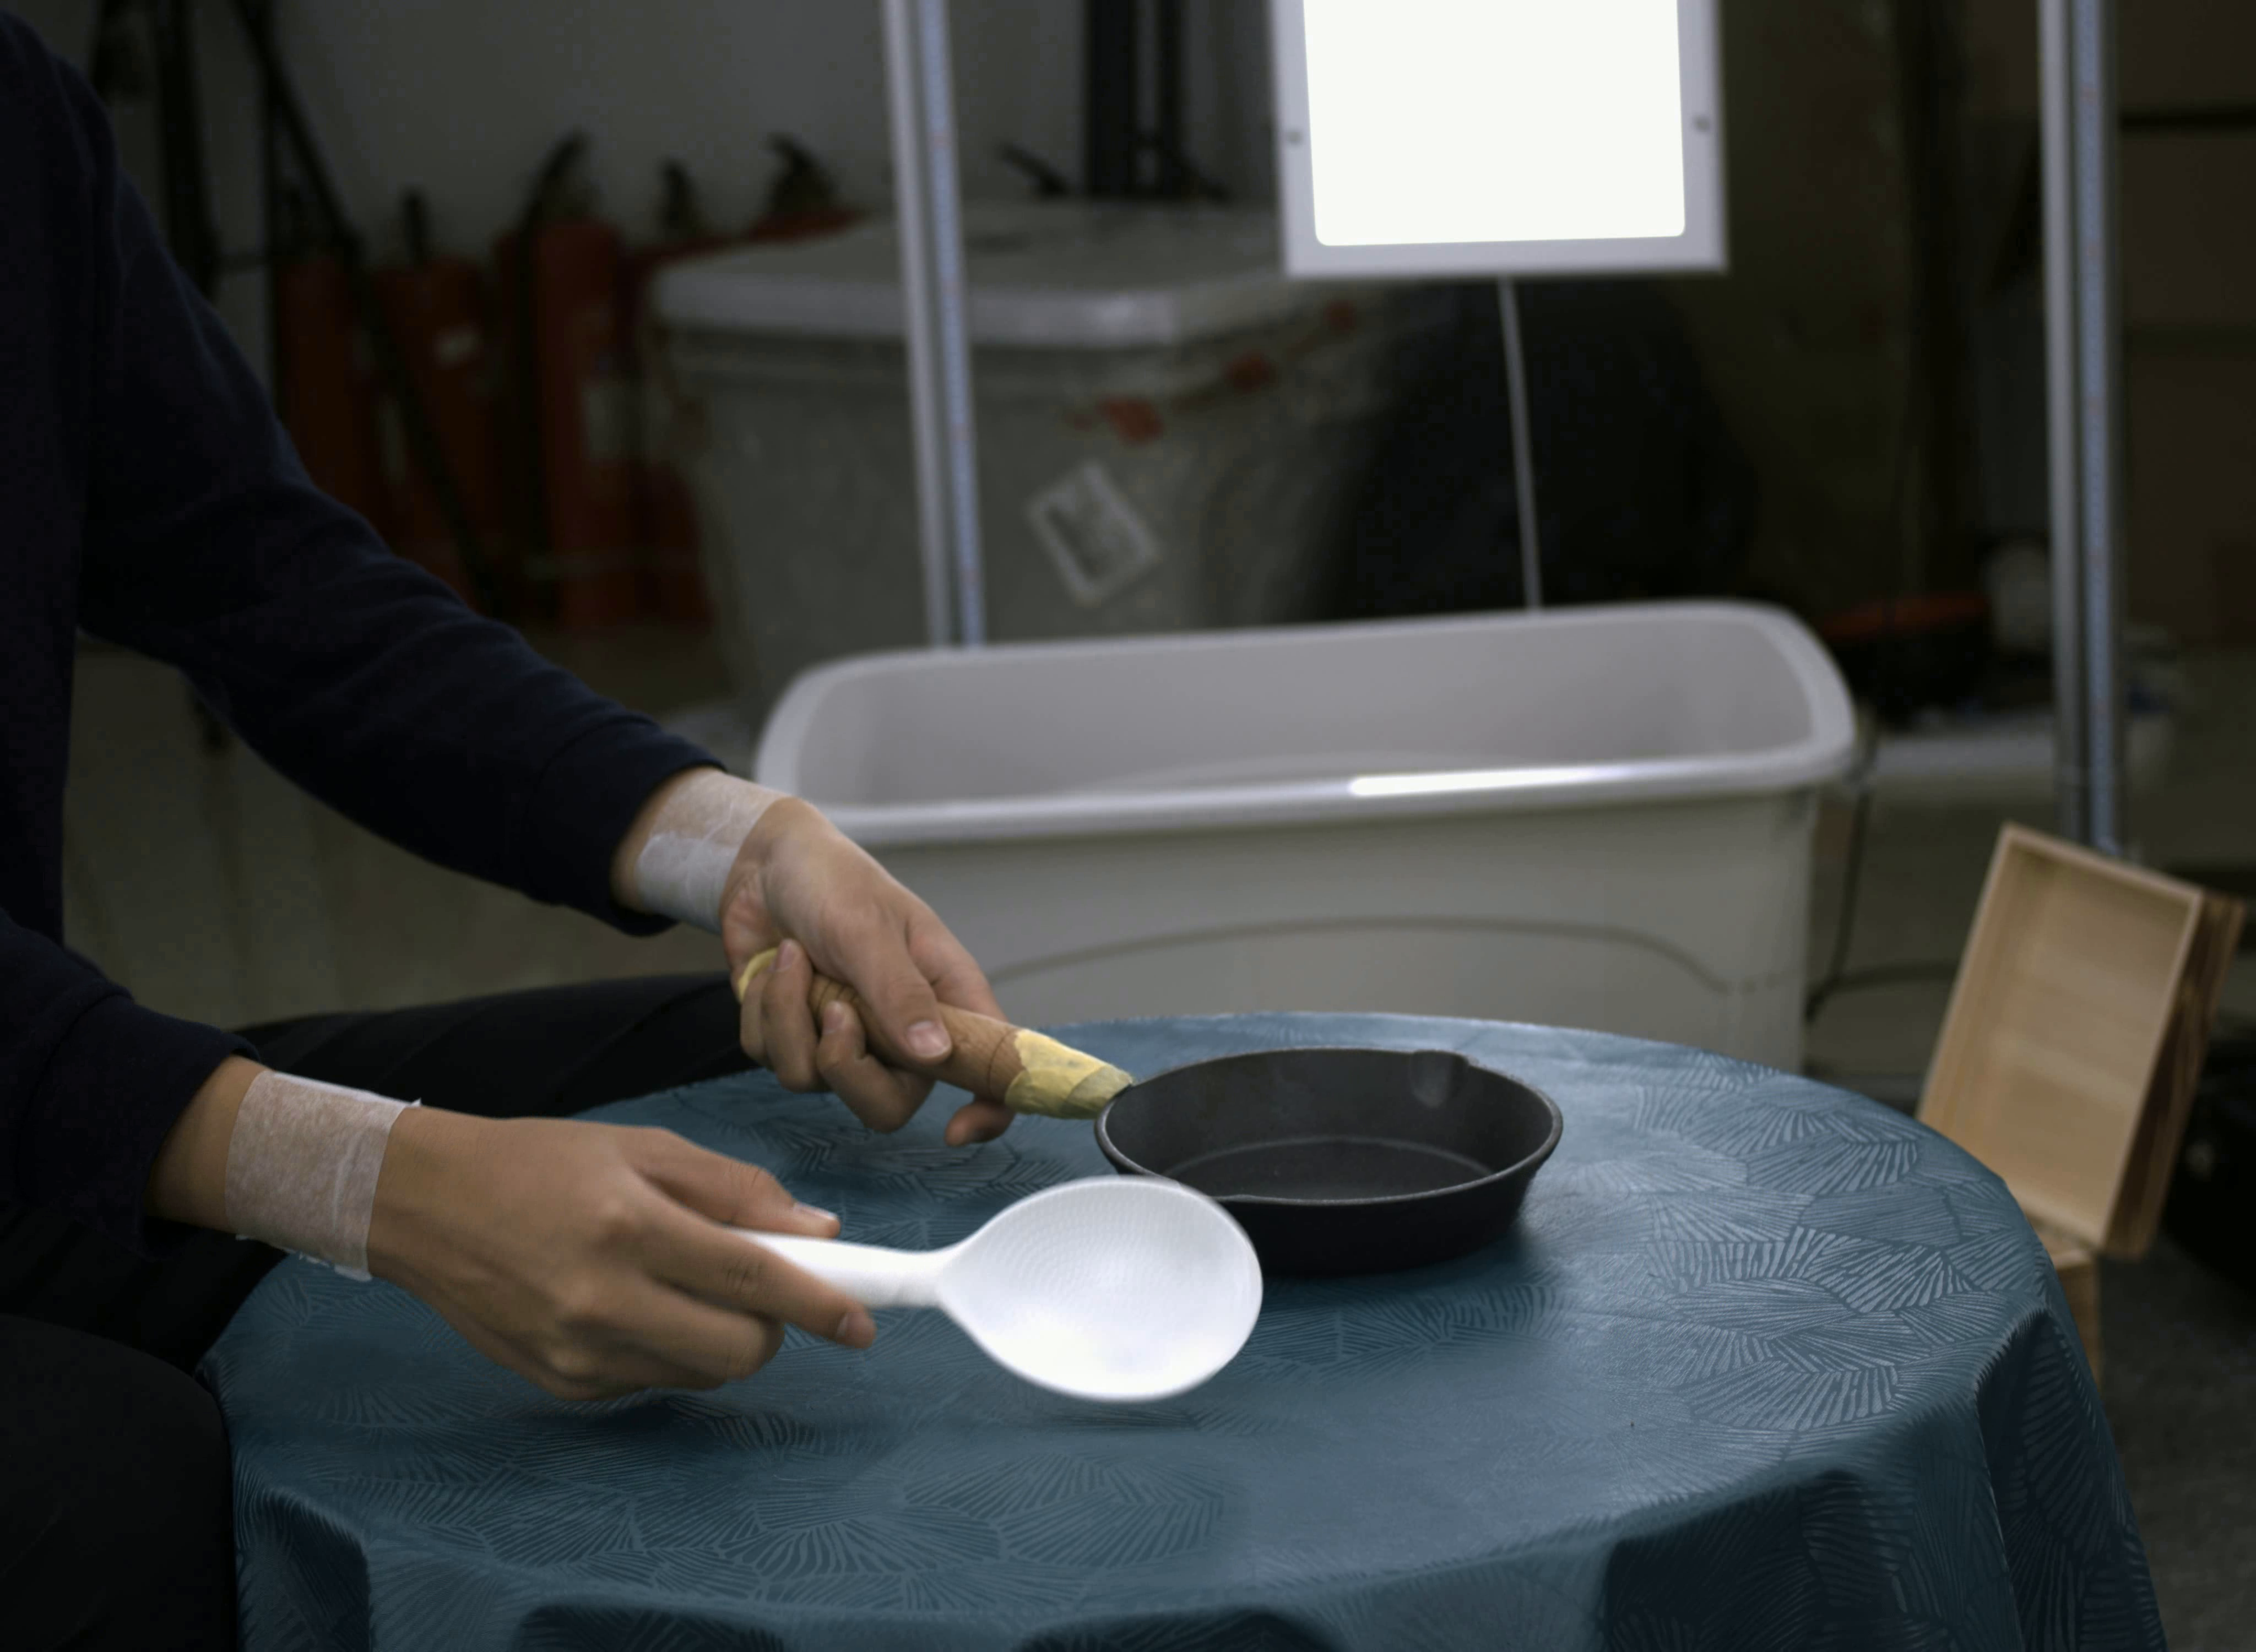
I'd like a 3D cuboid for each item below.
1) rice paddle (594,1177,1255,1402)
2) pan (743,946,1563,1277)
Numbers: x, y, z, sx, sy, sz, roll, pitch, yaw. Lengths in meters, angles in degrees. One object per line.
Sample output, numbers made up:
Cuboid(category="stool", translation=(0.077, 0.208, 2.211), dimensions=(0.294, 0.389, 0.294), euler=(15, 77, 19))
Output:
Cuboid(category="rice paddle", translation=(-0.062, 0.140, 1.688), dimensions=(0.207, 0.069, 0.029), euler=(1, -9, 15))
Cuboid(category="pan", translation=(-0.001, 0.093, 1.889), dimensions=(0.330, 0.050, 0.165), euler=(12, 21, 35))
